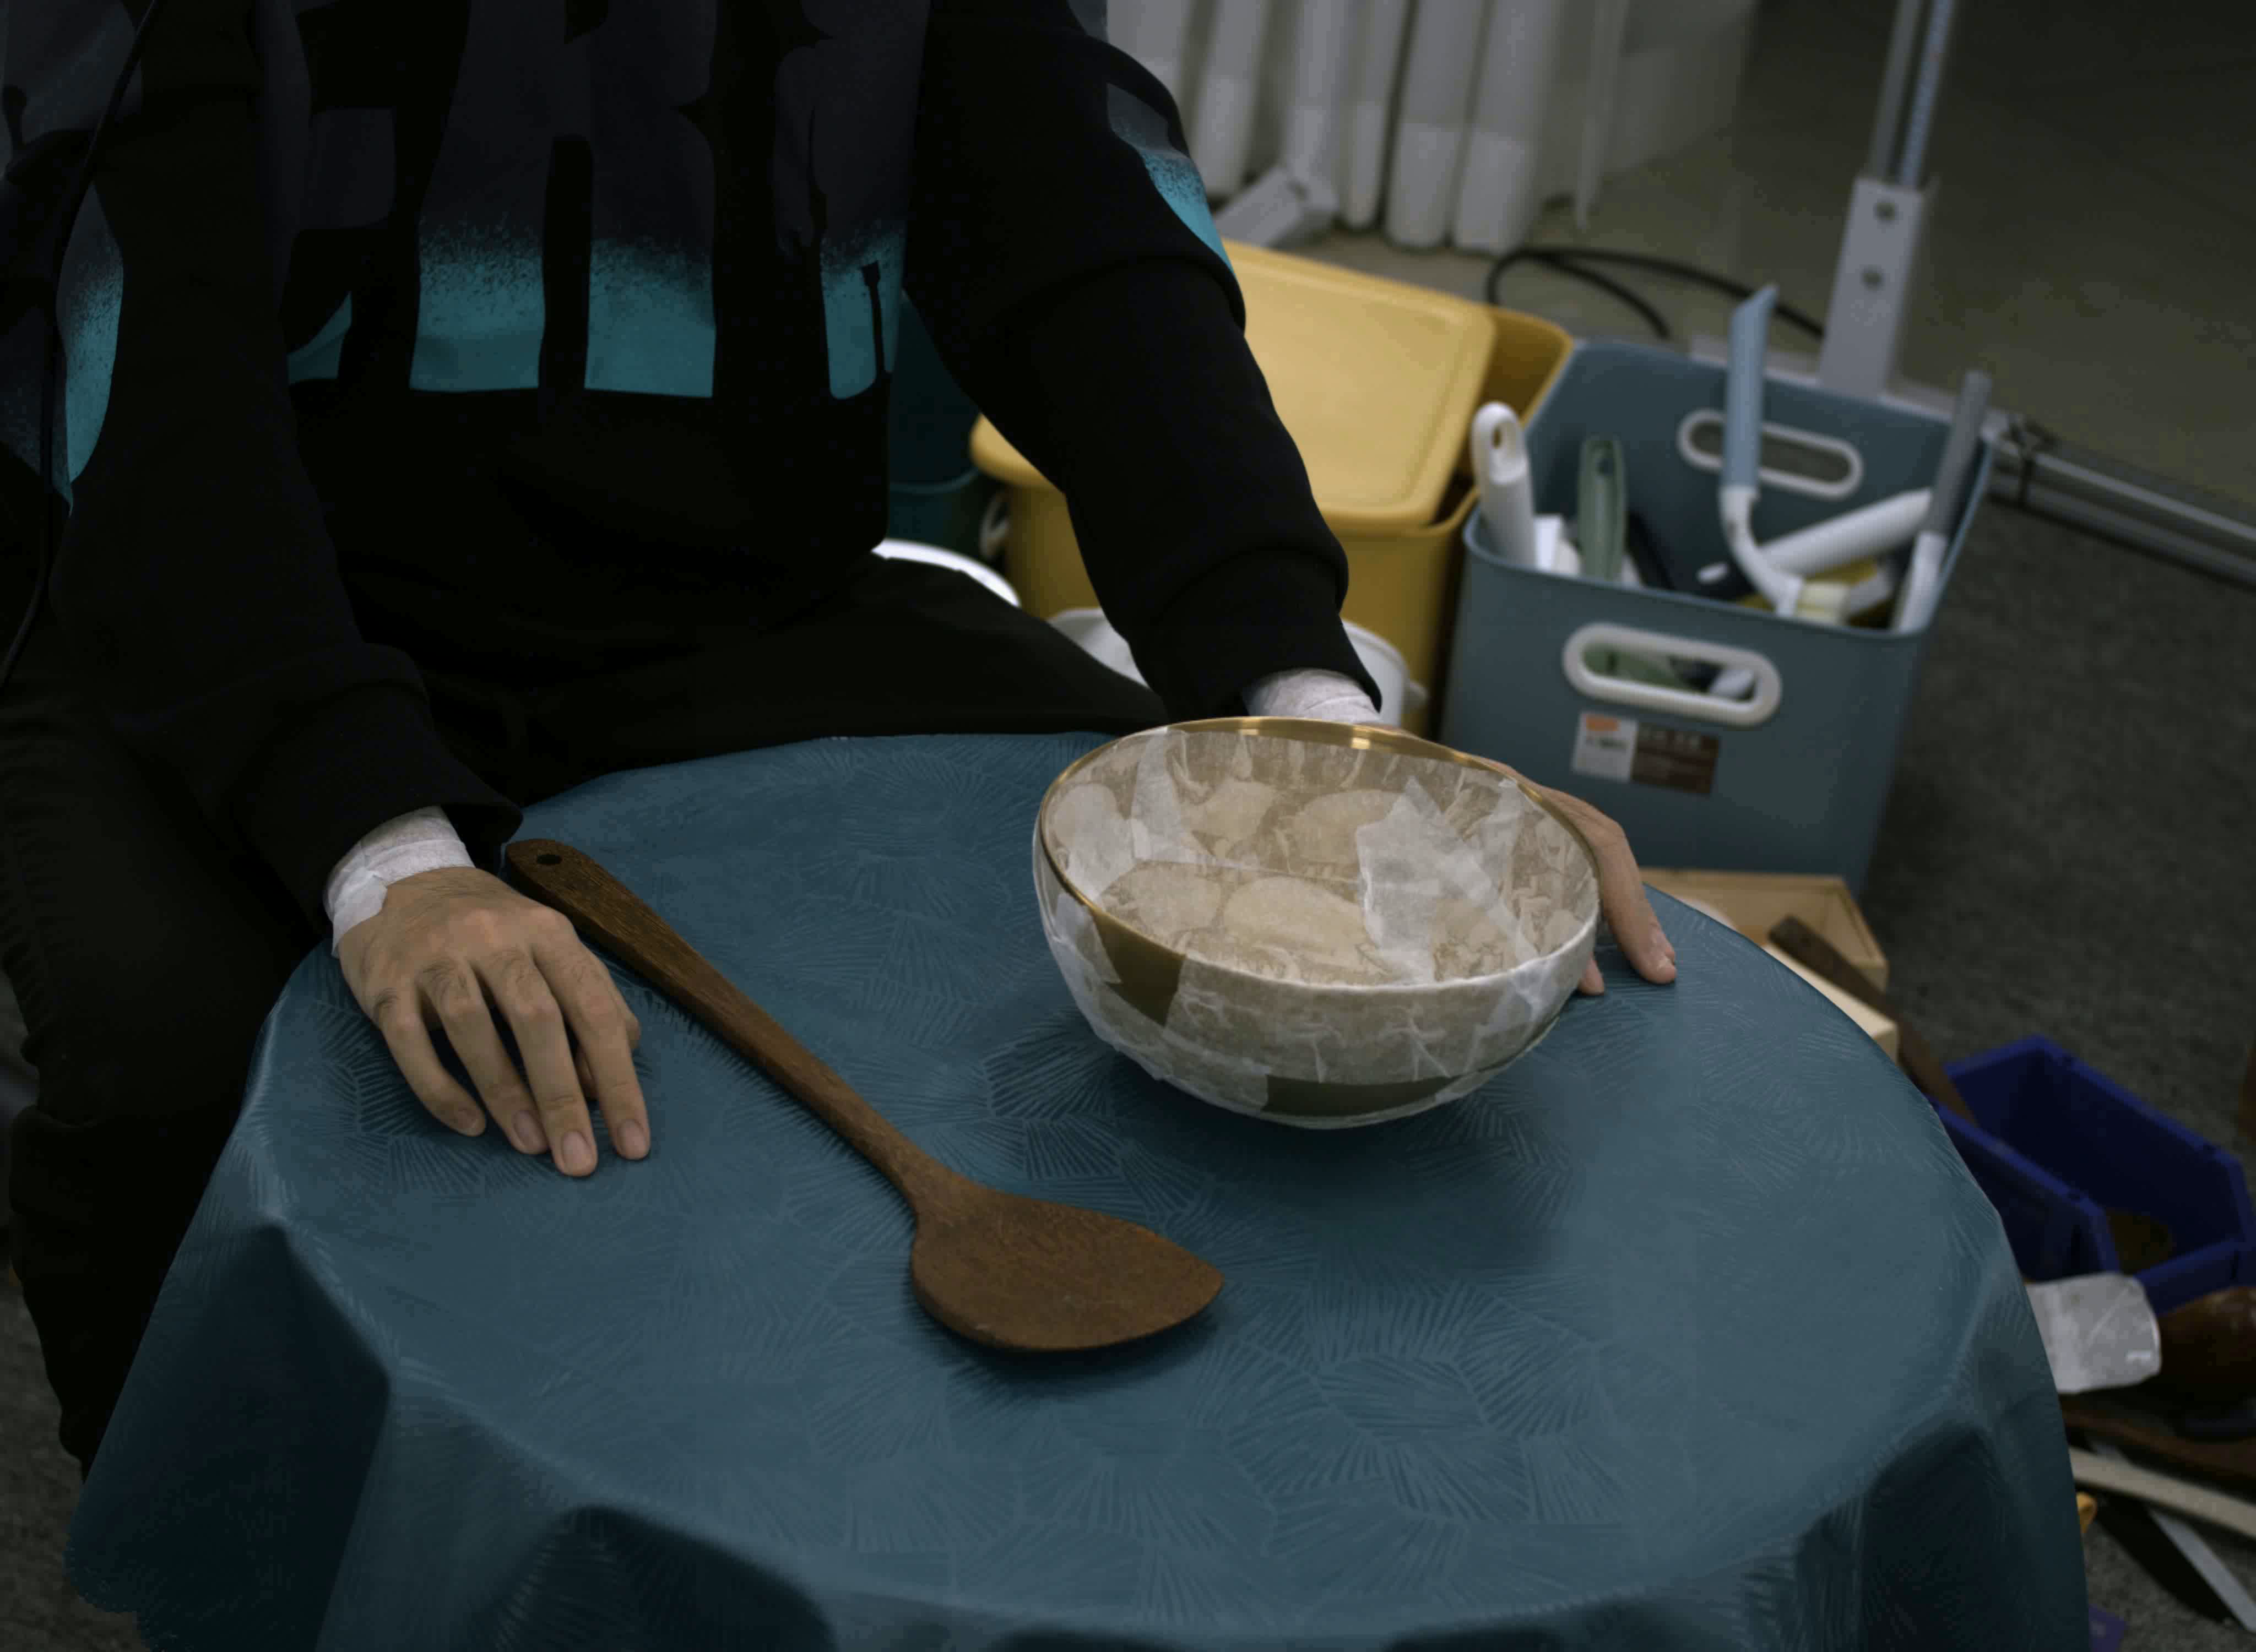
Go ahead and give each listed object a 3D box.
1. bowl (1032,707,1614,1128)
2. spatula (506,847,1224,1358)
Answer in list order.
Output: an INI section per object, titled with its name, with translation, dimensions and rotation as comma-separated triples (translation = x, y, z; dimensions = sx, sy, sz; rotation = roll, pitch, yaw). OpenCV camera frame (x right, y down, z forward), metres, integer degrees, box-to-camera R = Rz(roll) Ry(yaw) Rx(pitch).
[bowl]
translation = 0.065, 0.044, 1.868
dimensions = 0.214, 0.094, 0.216
rotation = 4, 27, -2
[spatula]
translation = -0.111, 0.087, 1.833
dimensions = 0.095, 0.016, 0.389
rotation = -13, 32, -34
